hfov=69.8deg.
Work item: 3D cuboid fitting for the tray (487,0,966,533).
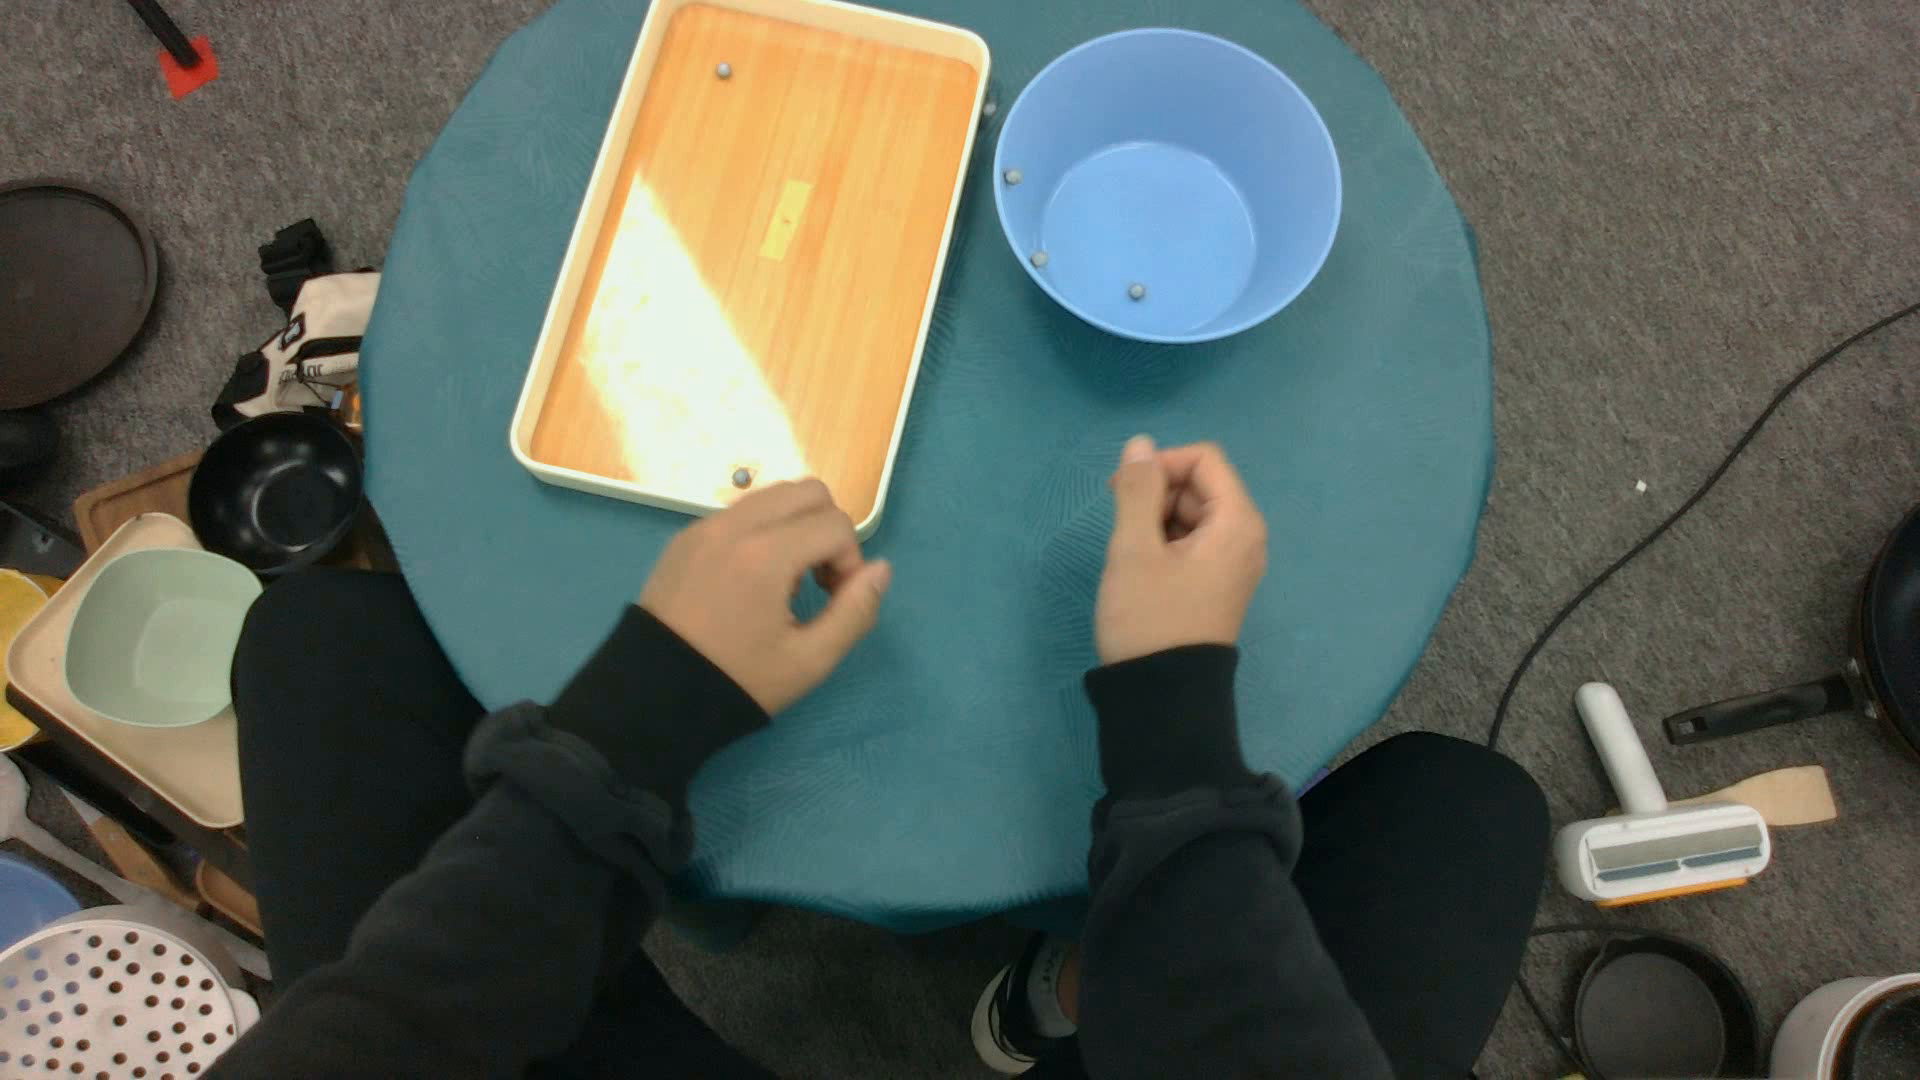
[{"bbox_3d":[-0.116,-0.162,0.732,0.191,0.027,0.301,12,73,0],"label":"tray"}]

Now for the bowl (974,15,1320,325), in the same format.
[{"bbox_3d":[0.094,-0.182,0.725,0.176,0.070,0.176,0,74,-2],"label":"bowl"}]
